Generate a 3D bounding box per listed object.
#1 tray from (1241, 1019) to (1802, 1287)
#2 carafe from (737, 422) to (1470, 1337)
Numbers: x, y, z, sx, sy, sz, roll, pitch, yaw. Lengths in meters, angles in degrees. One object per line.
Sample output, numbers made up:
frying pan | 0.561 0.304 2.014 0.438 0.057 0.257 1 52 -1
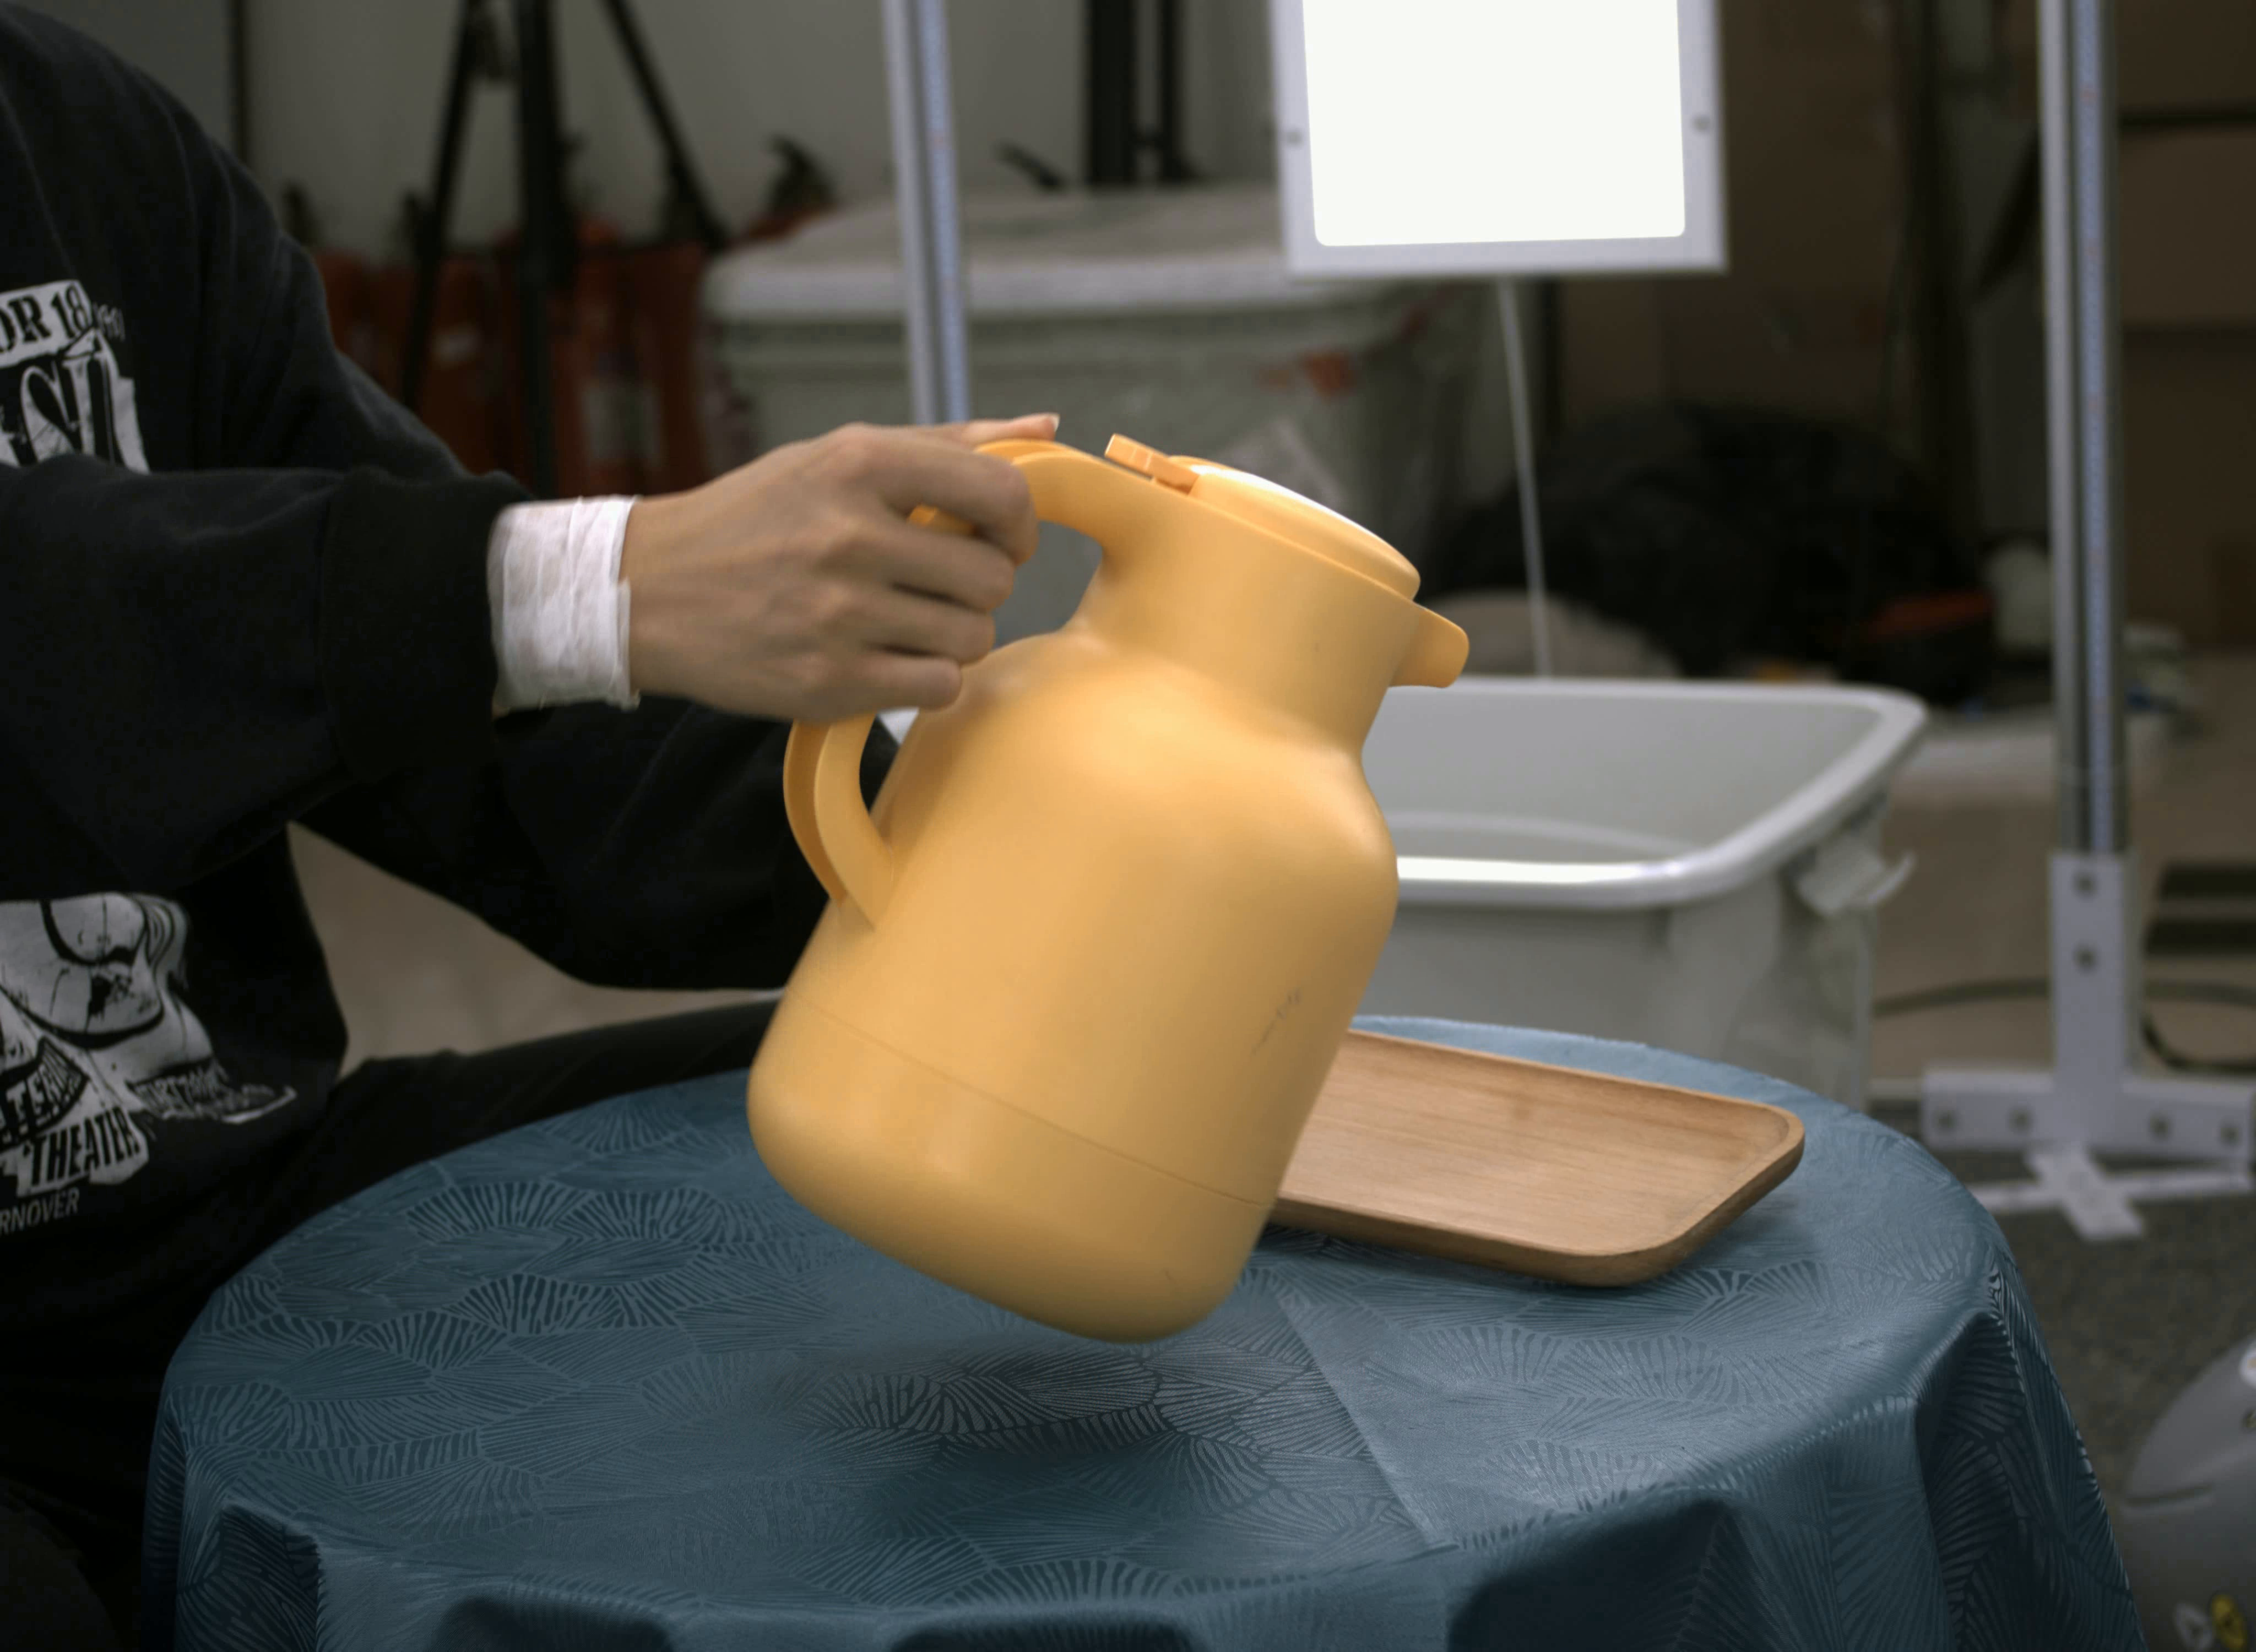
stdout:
tray | 0.099 0.107 1.859 0.256 0.023 0.127 9 24 39
carafe | -0.018 0.007 1.672 0.199 0.261 0.166 25 0 -26
